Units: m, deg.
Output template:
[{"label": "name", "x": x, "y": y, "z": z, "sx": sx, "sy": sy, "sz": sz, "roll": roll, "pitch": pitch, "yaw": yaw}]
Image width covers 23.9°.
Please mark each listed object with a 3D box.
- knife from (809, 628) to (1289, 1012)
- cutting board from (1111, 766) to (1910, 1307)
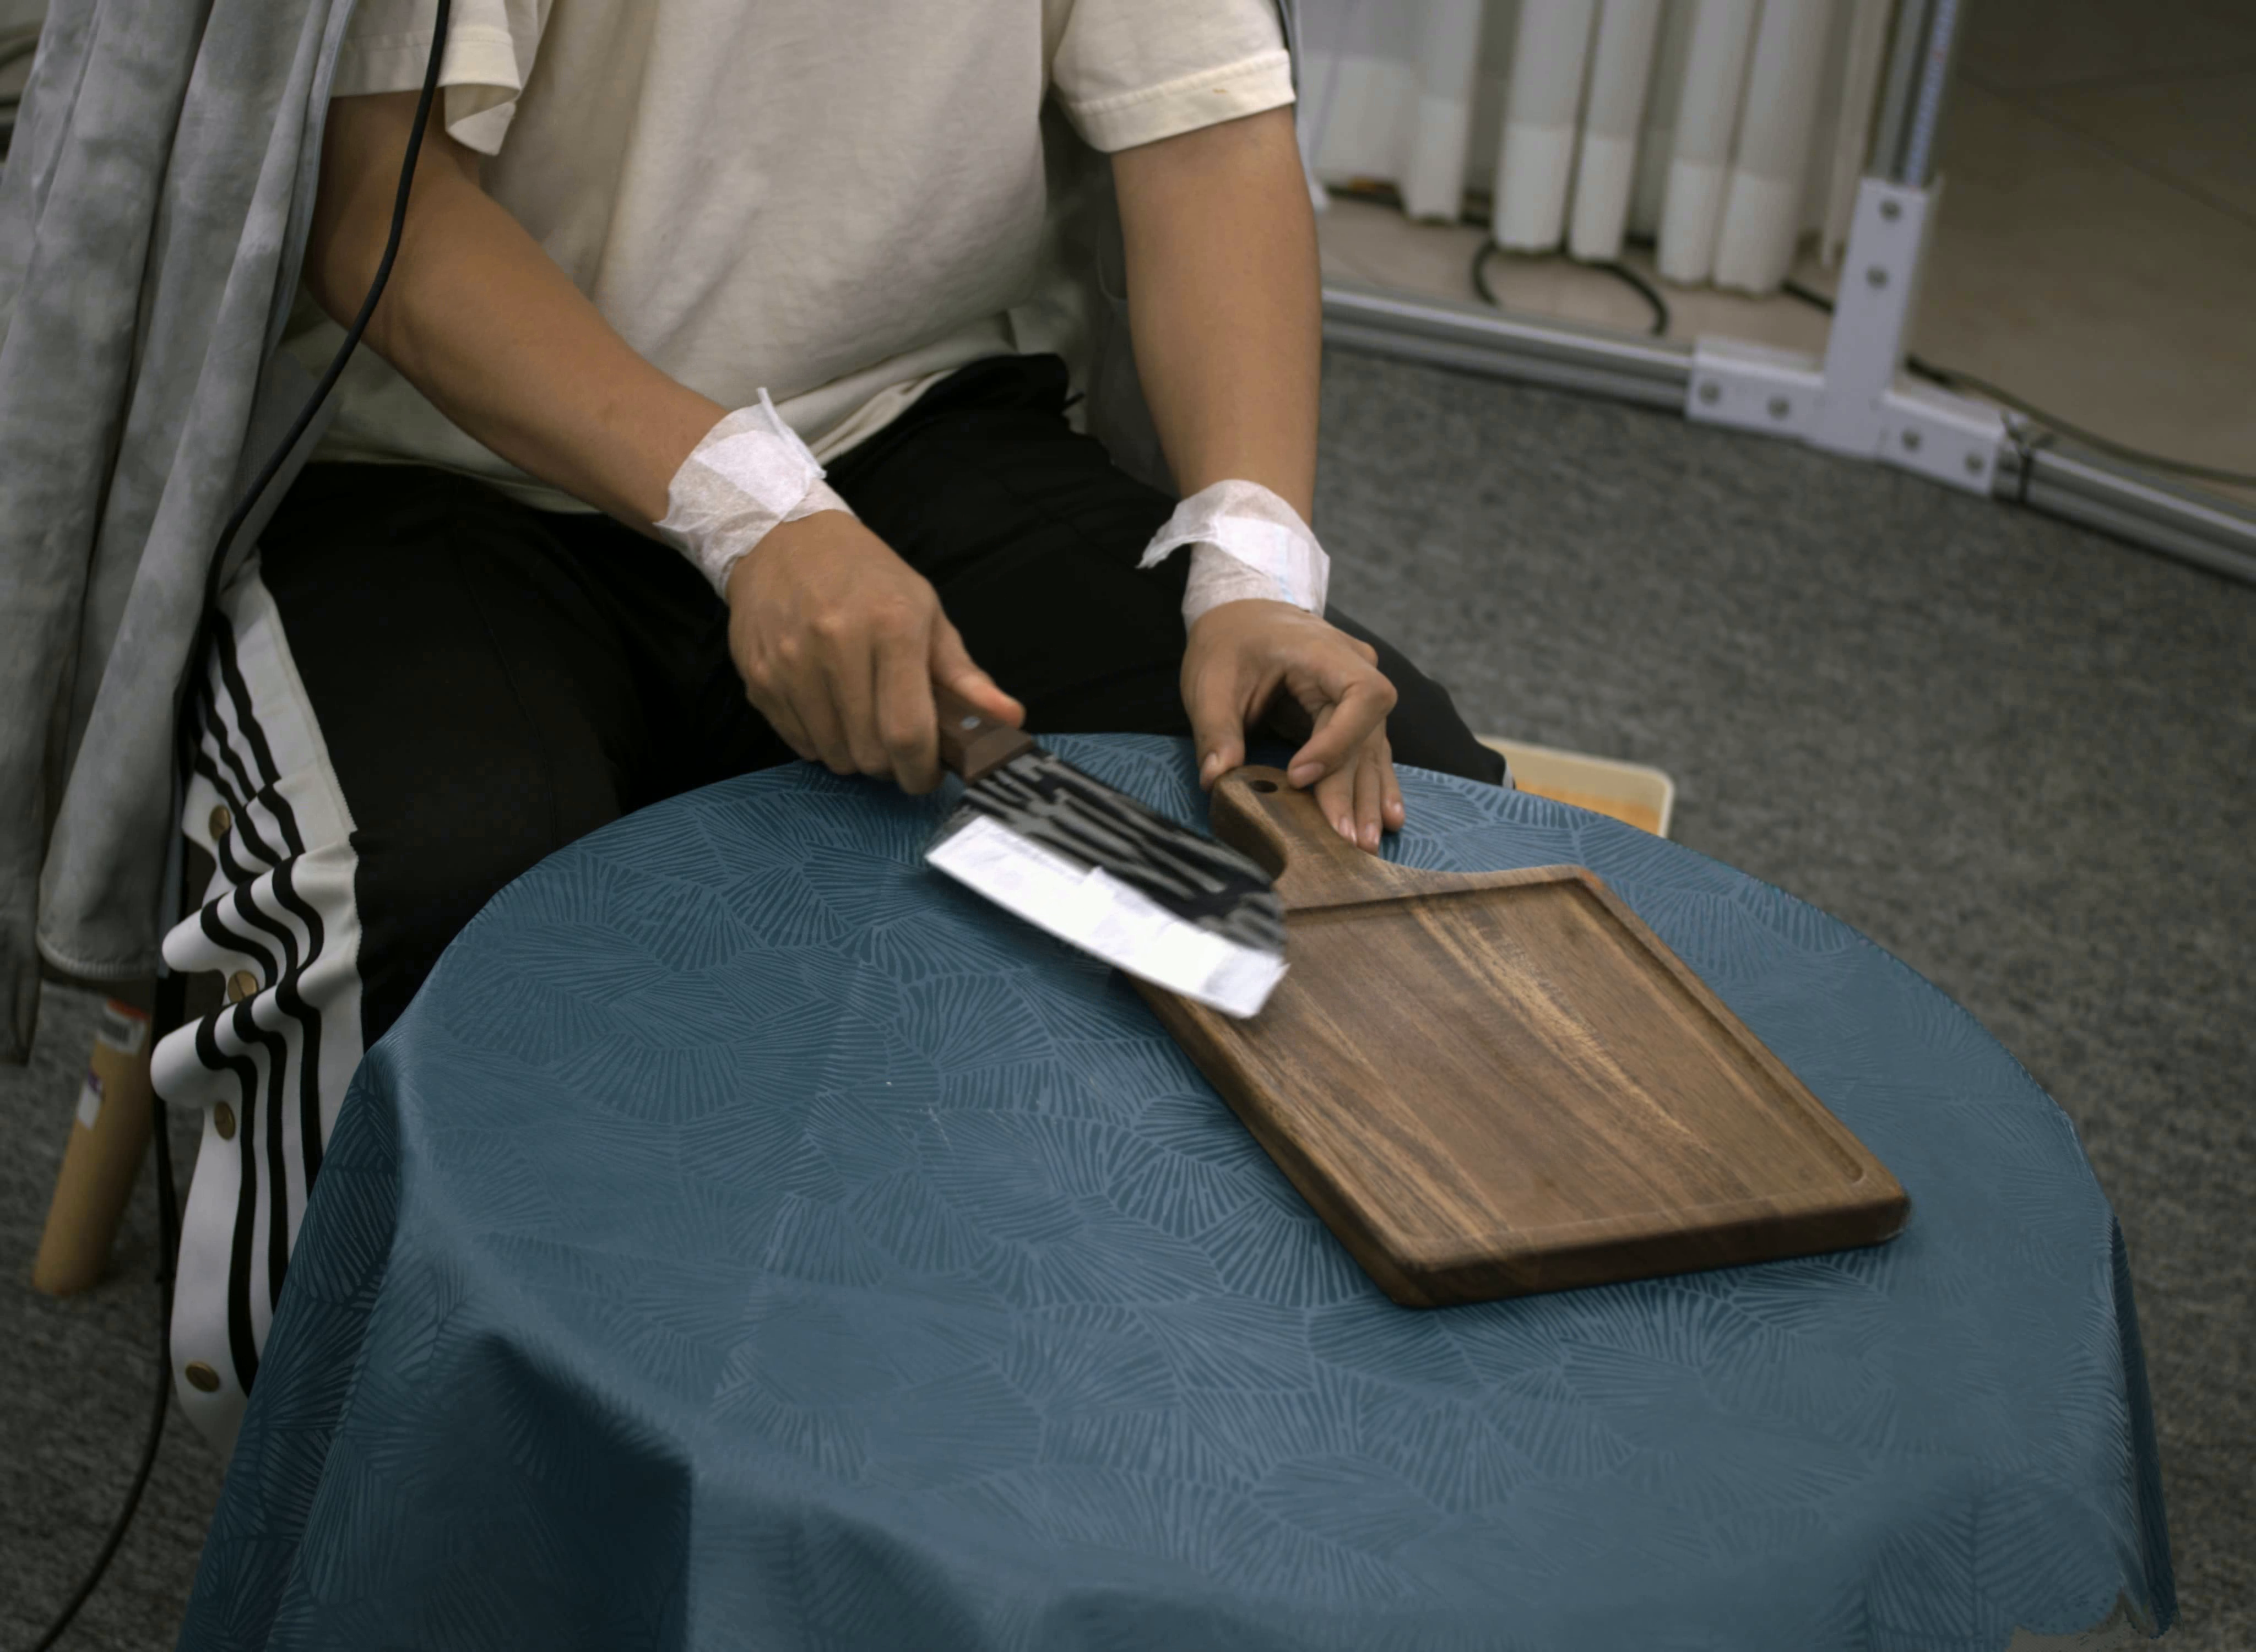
[{"label": "knife", "x": -0.038, "y": -0.003, "z": 1.986, "sx": 0.068, "sy": 0.024, "sz": 0.302, "roll": -38, "pitch": 44, "yaw": -24}, {"label": "cutting board", "x": 0.112, "y": 0.064, "z": 1.925, "sx": 0.200, "sy": 0.023, "sz": 0.355, "roll": -6, "pitch": 29, "yaw": -23}]
